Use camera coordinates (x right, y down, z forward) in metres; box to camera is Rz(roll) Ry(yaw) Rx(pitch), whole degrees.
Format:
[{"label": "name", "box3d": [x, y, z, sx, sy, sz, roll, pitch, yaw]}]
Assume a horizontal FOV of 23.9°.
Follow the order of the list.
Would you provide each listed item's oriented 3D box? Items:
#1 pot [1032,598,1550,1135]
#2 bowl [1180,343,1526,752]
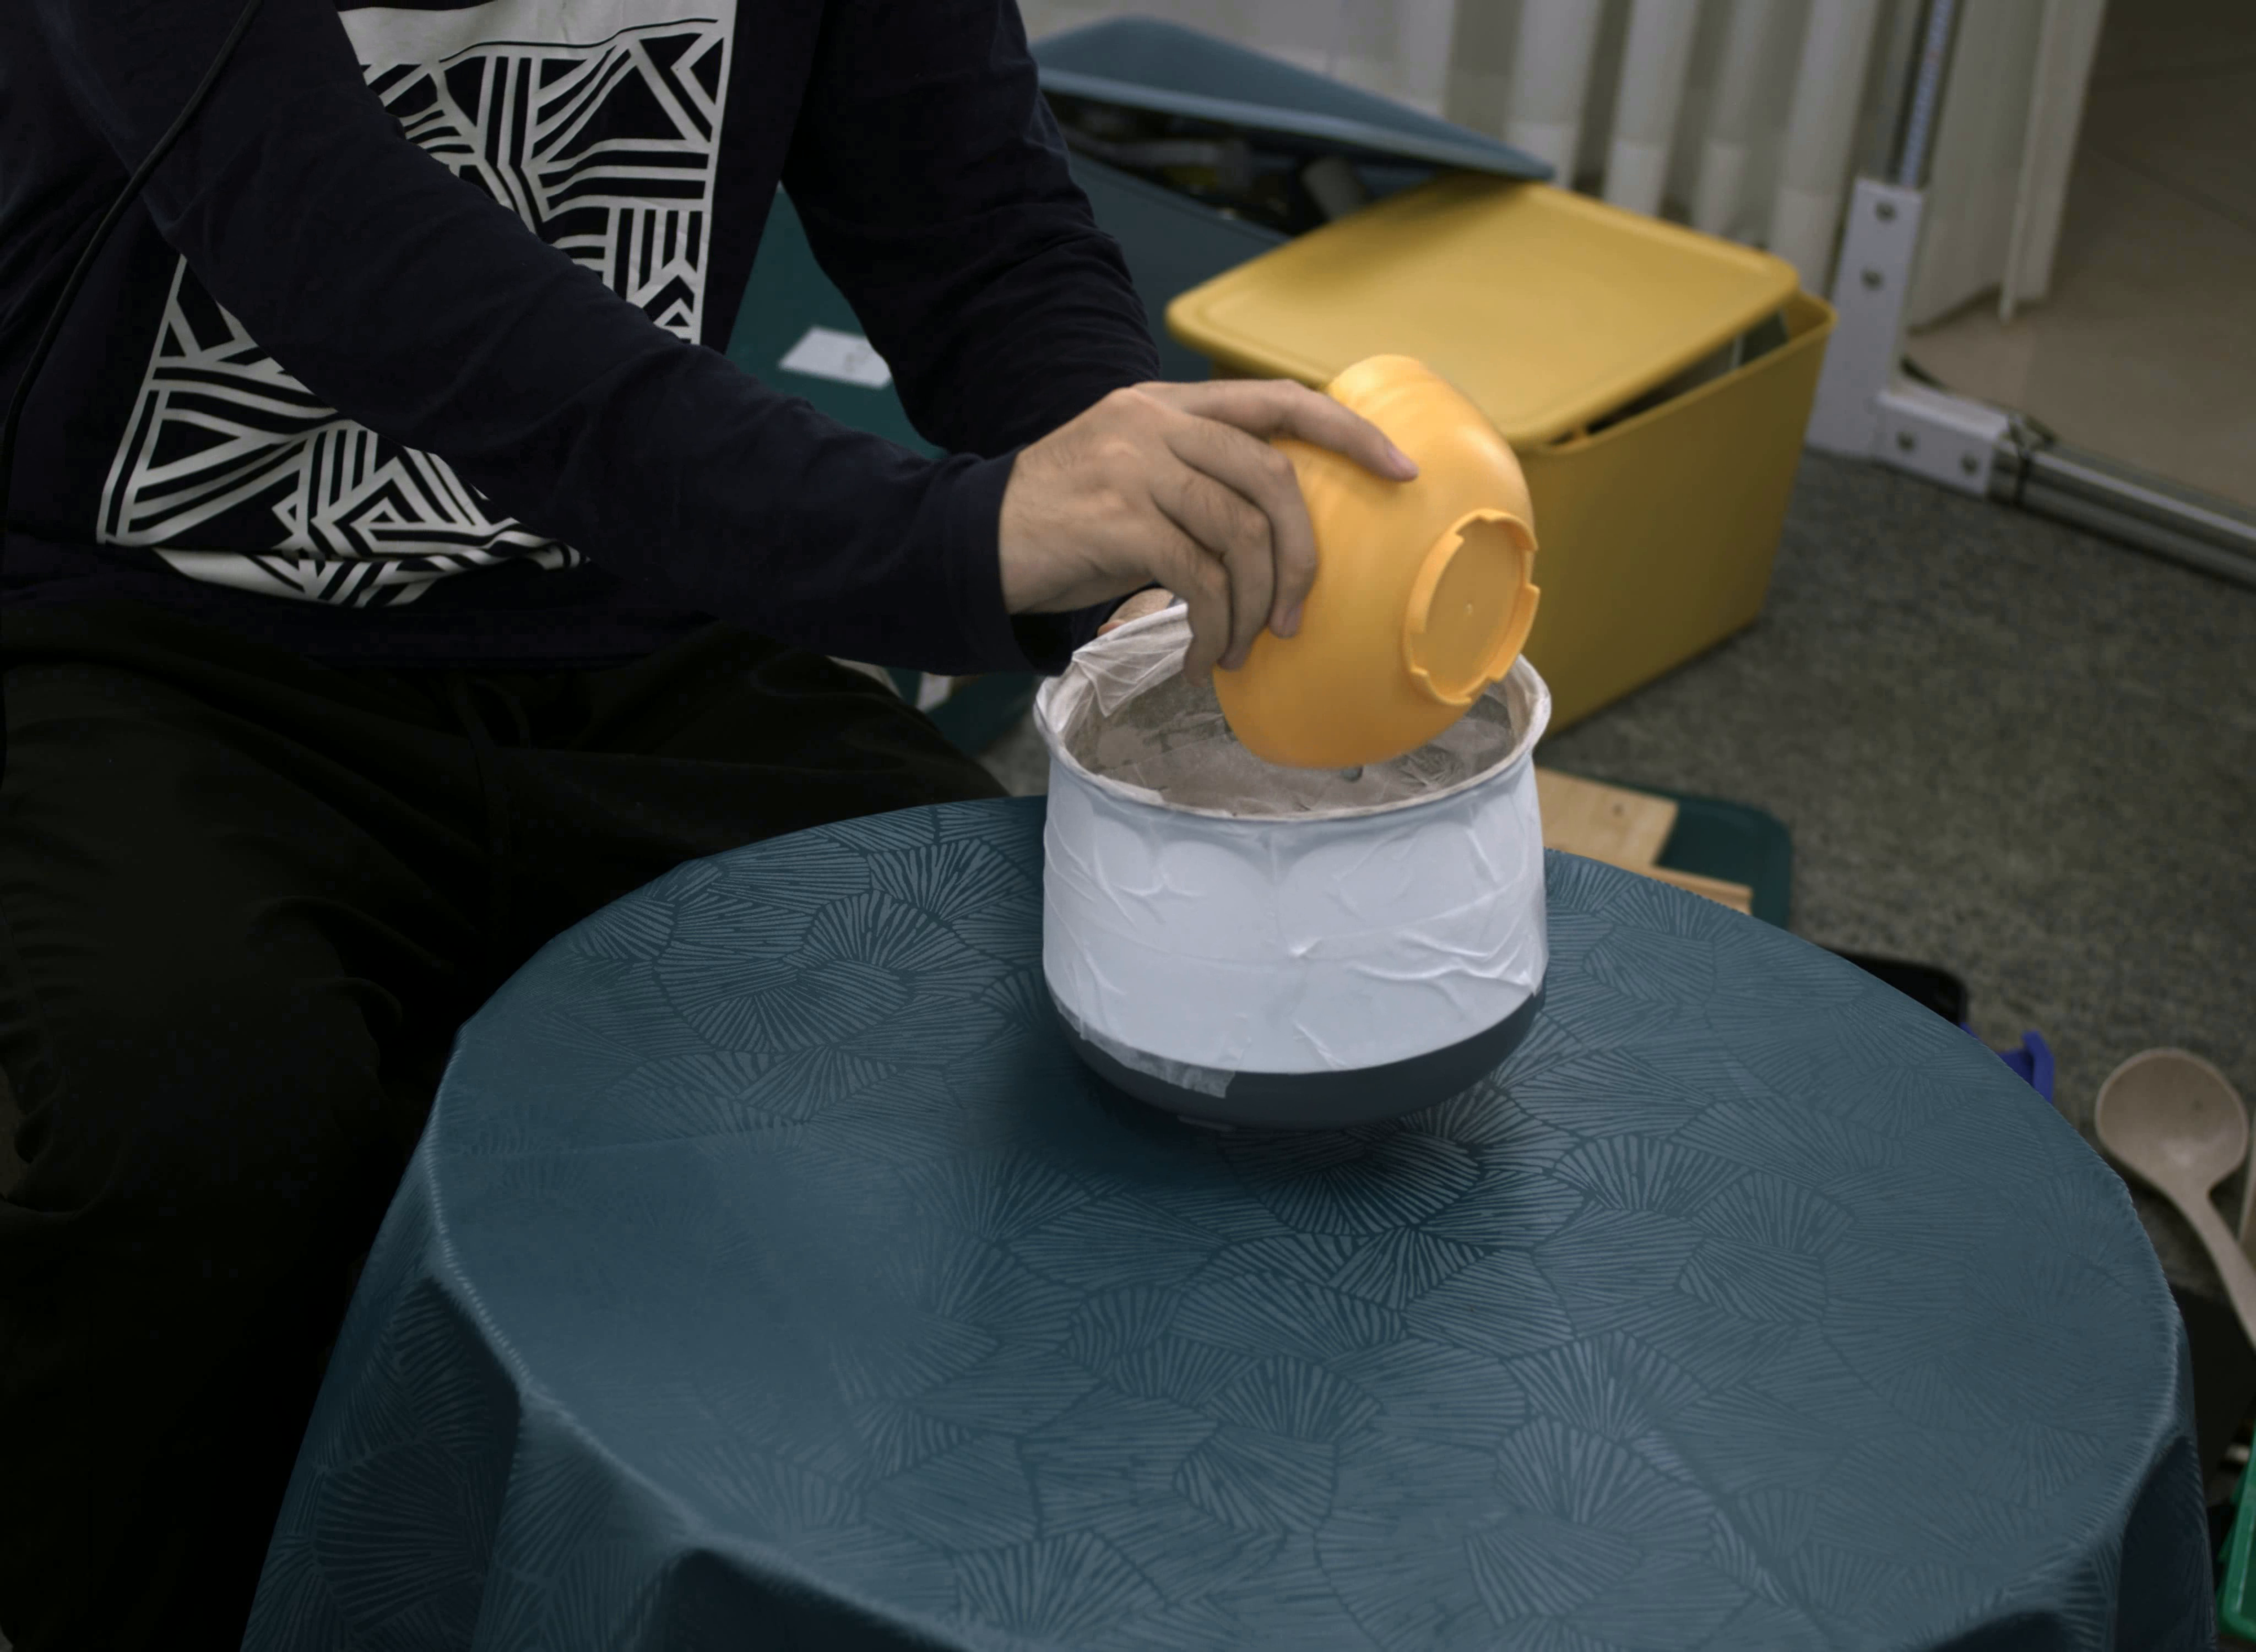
[{"label": "pot", "box3d": [0.049, 0.005, 1.872, 0.178, 0.136, 0.235, -10, 25, -14]}, {"label": "bowl", "box3d": [0.088, -0.083, 1.771, 0.144, 0.145, 0.060, -19, 36, -41]}]
